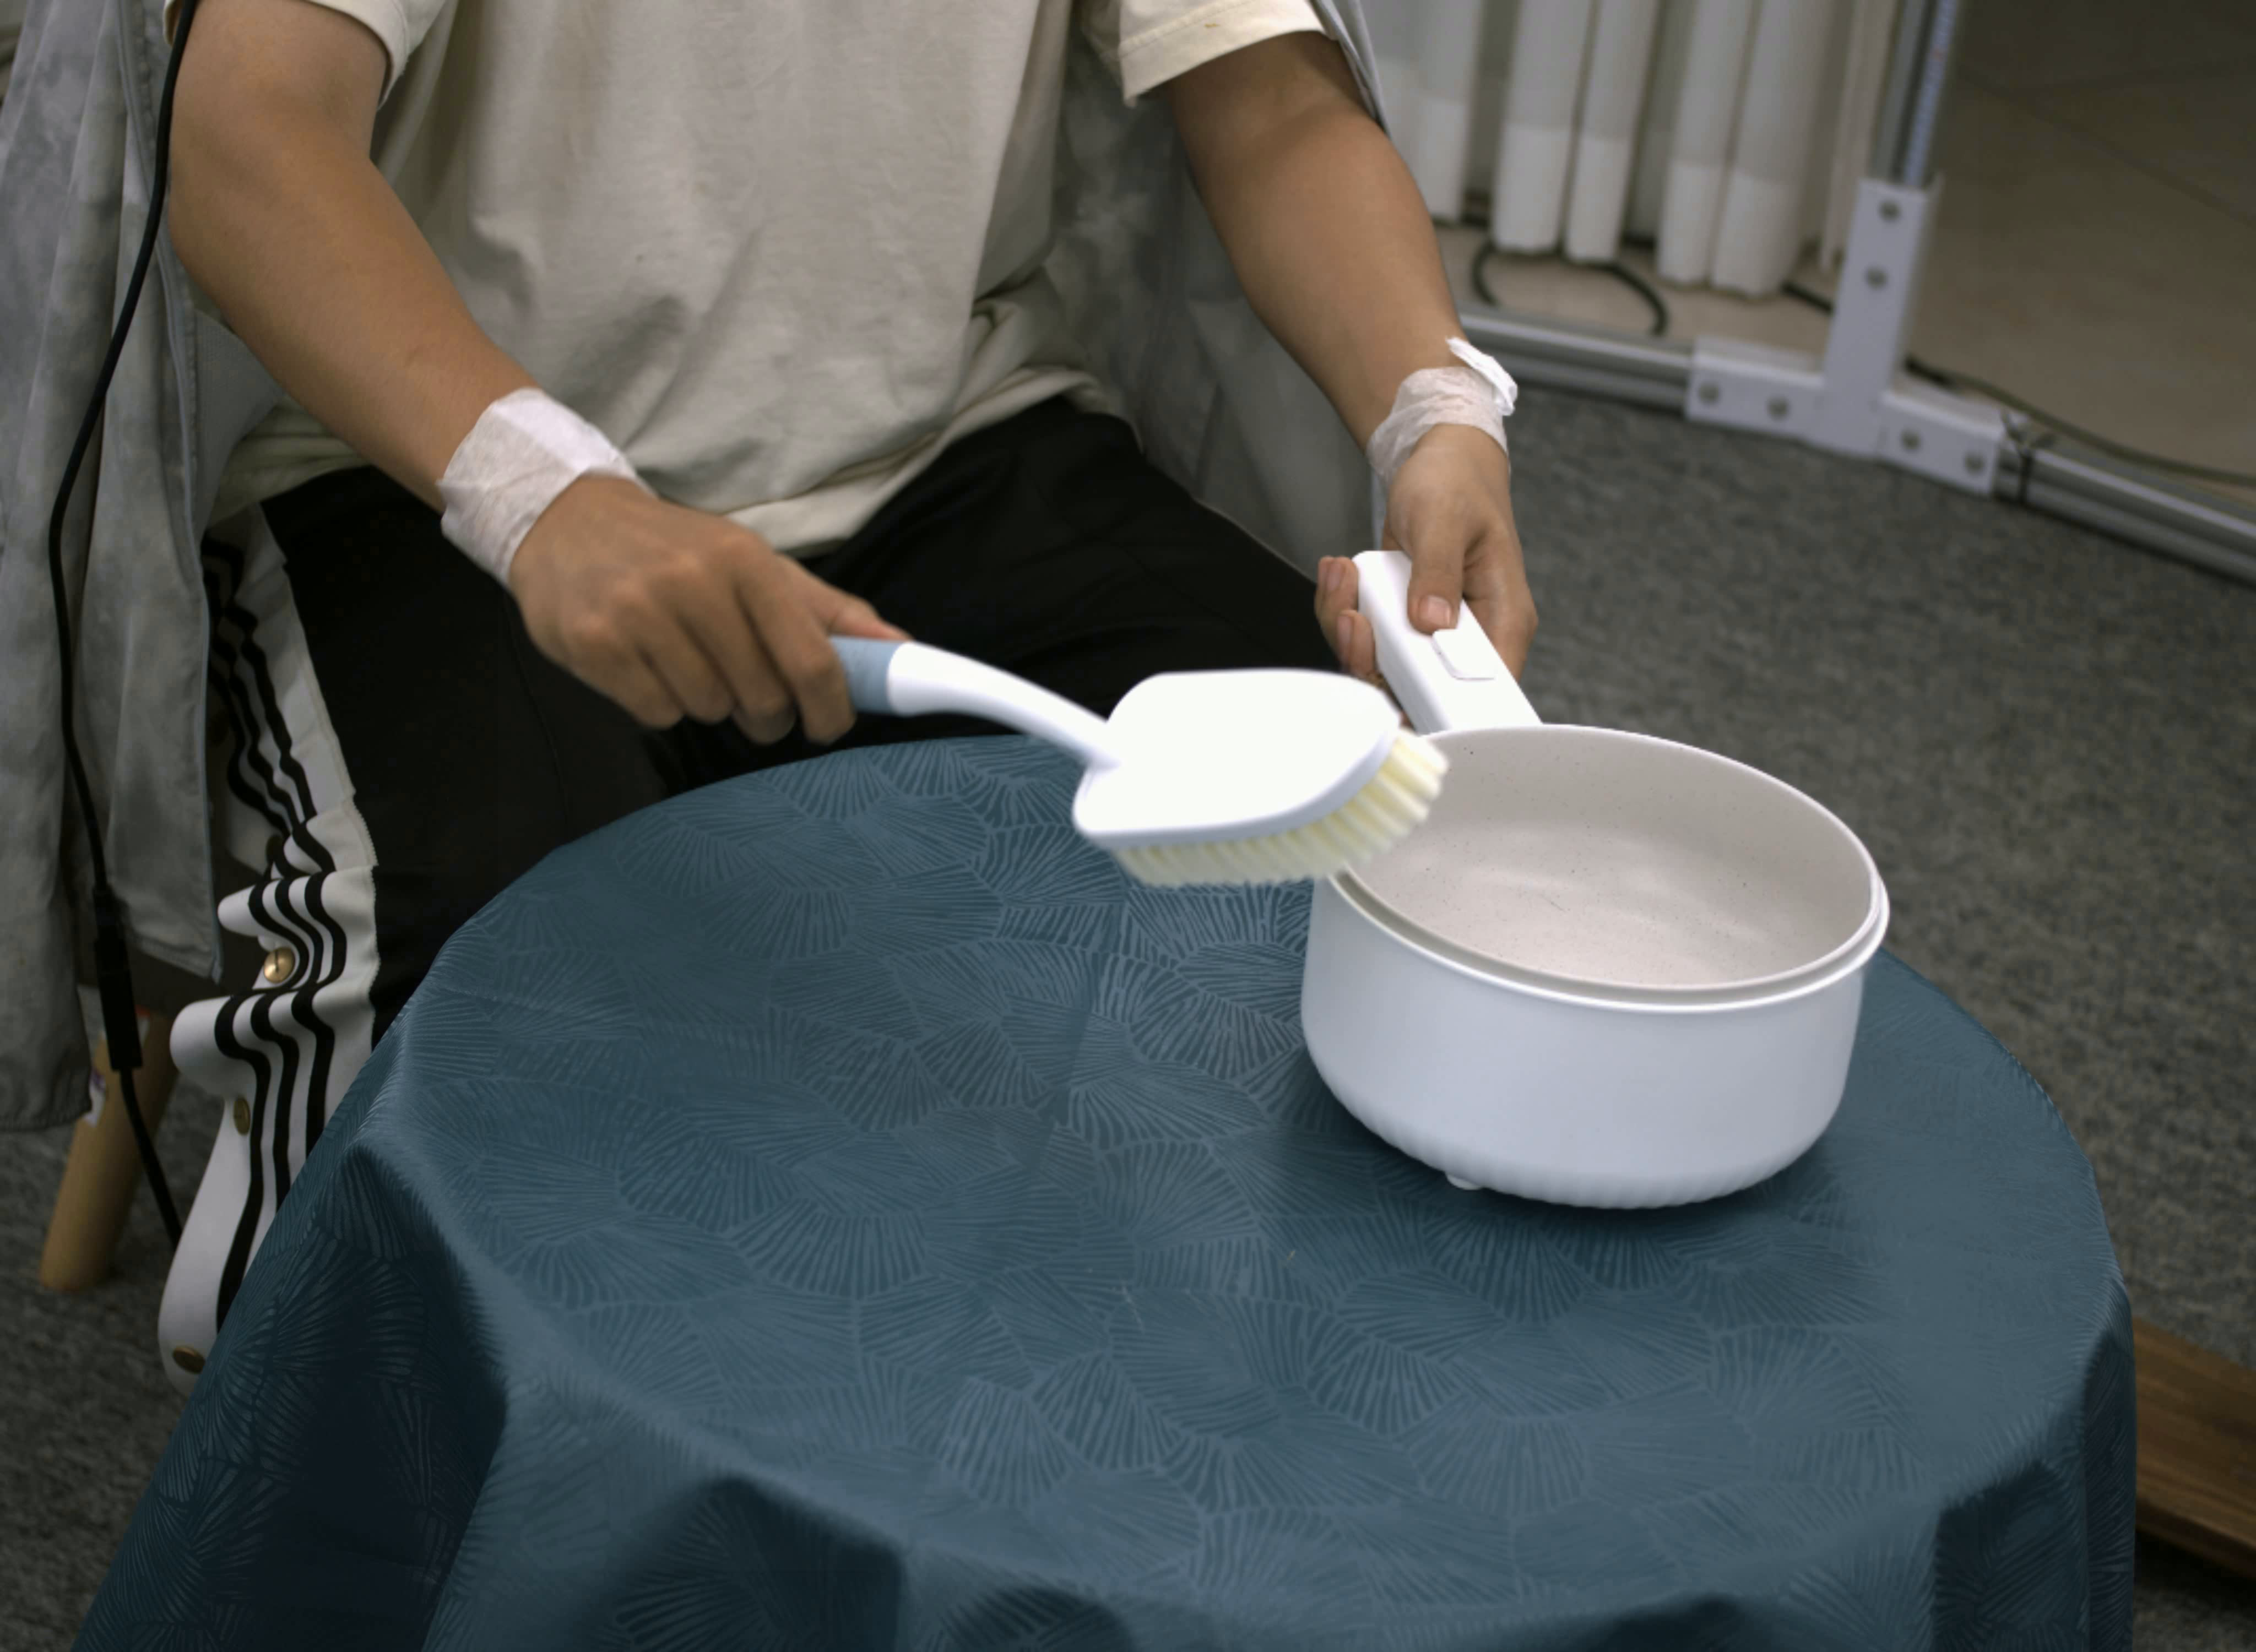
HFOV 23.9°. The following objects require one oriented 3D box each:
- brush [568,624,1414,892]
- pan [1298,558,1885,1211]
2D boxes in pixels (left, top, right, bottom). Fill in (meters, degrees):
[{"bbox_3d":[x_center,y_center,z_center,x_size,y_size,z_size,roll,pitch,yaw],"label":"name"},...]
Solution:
[{"bbox_3d":[-0.045,-0.026,1.823,0.327,0.084,0.083,5,18,31],"label":"brush"},{"bbox_3d":[0.140,0.018,1.934,0.200,0.102,0.358,-2,27,-15],"label":"pan"}]
